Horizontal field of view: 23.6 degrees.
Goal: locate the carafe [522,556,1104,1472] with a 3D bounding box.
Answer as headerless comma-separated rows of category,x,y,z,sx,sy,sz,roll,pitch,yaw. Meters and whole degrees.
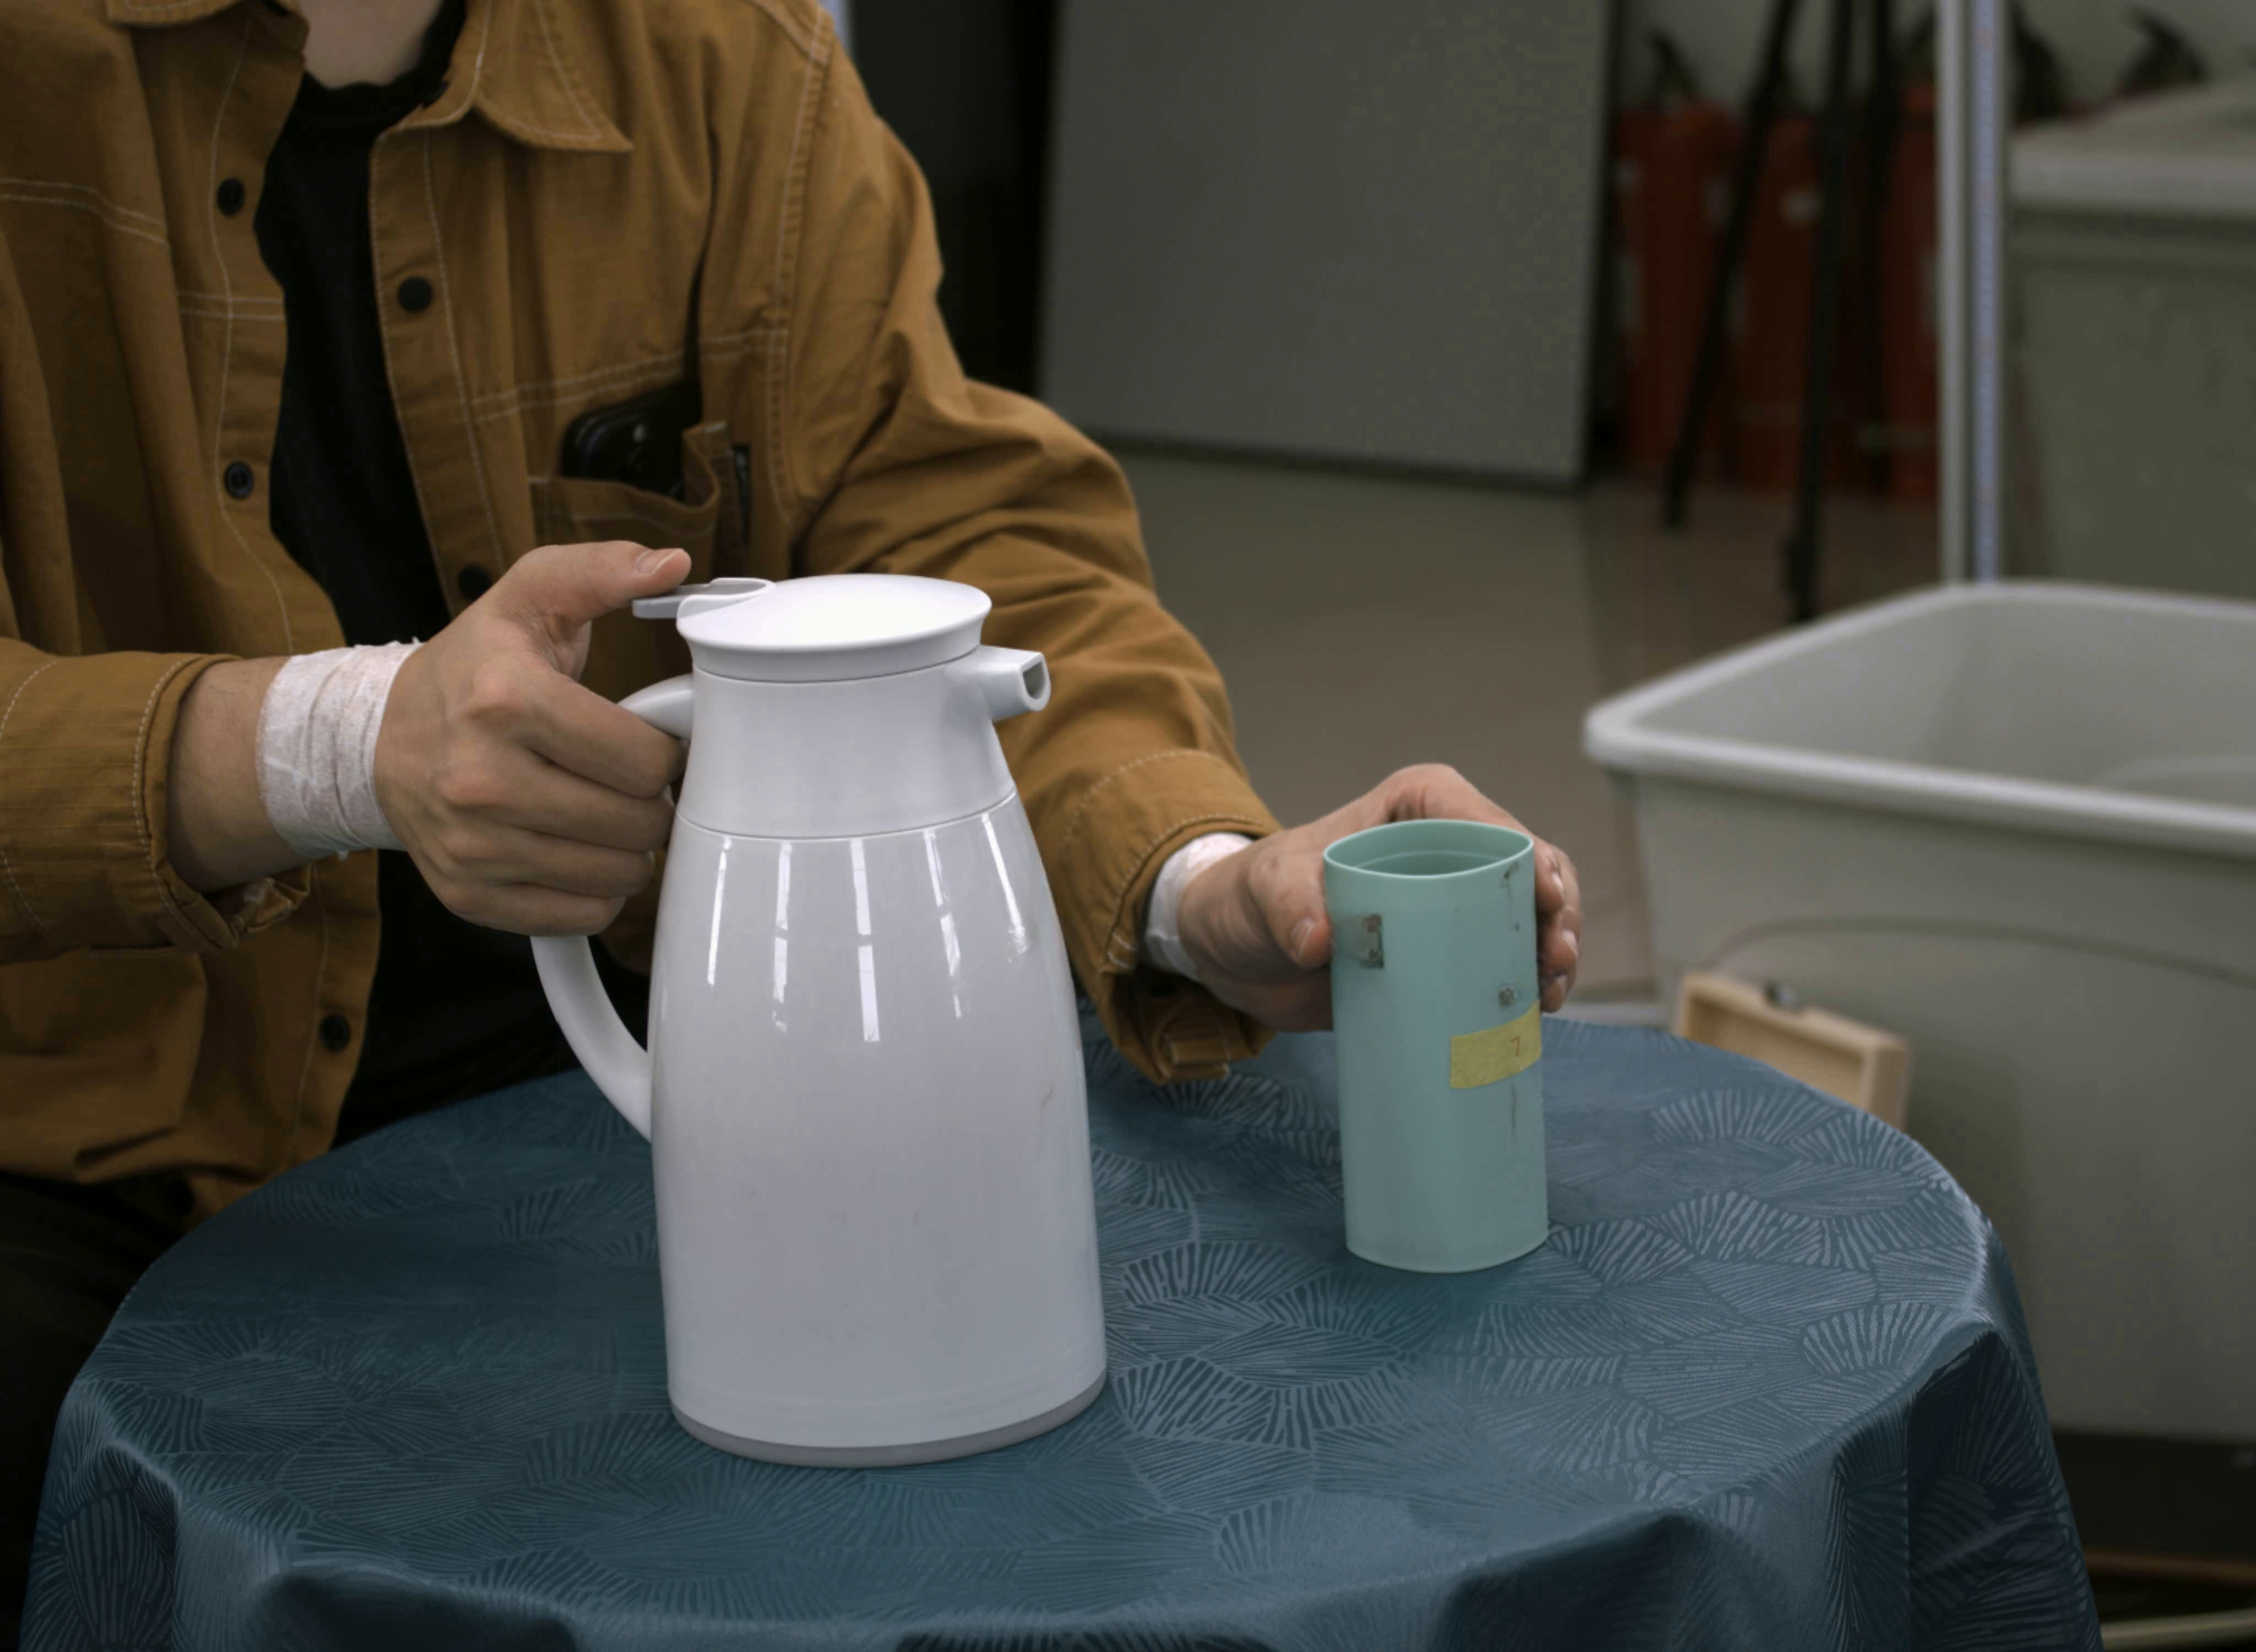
carafe,-0.097,0.048,1.581,0.167,0.251,0.131,1,14,21

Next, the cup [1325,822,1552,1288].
cup,0.097,0.071,1.687,0.066,0.134,0.067,-4,13,0
